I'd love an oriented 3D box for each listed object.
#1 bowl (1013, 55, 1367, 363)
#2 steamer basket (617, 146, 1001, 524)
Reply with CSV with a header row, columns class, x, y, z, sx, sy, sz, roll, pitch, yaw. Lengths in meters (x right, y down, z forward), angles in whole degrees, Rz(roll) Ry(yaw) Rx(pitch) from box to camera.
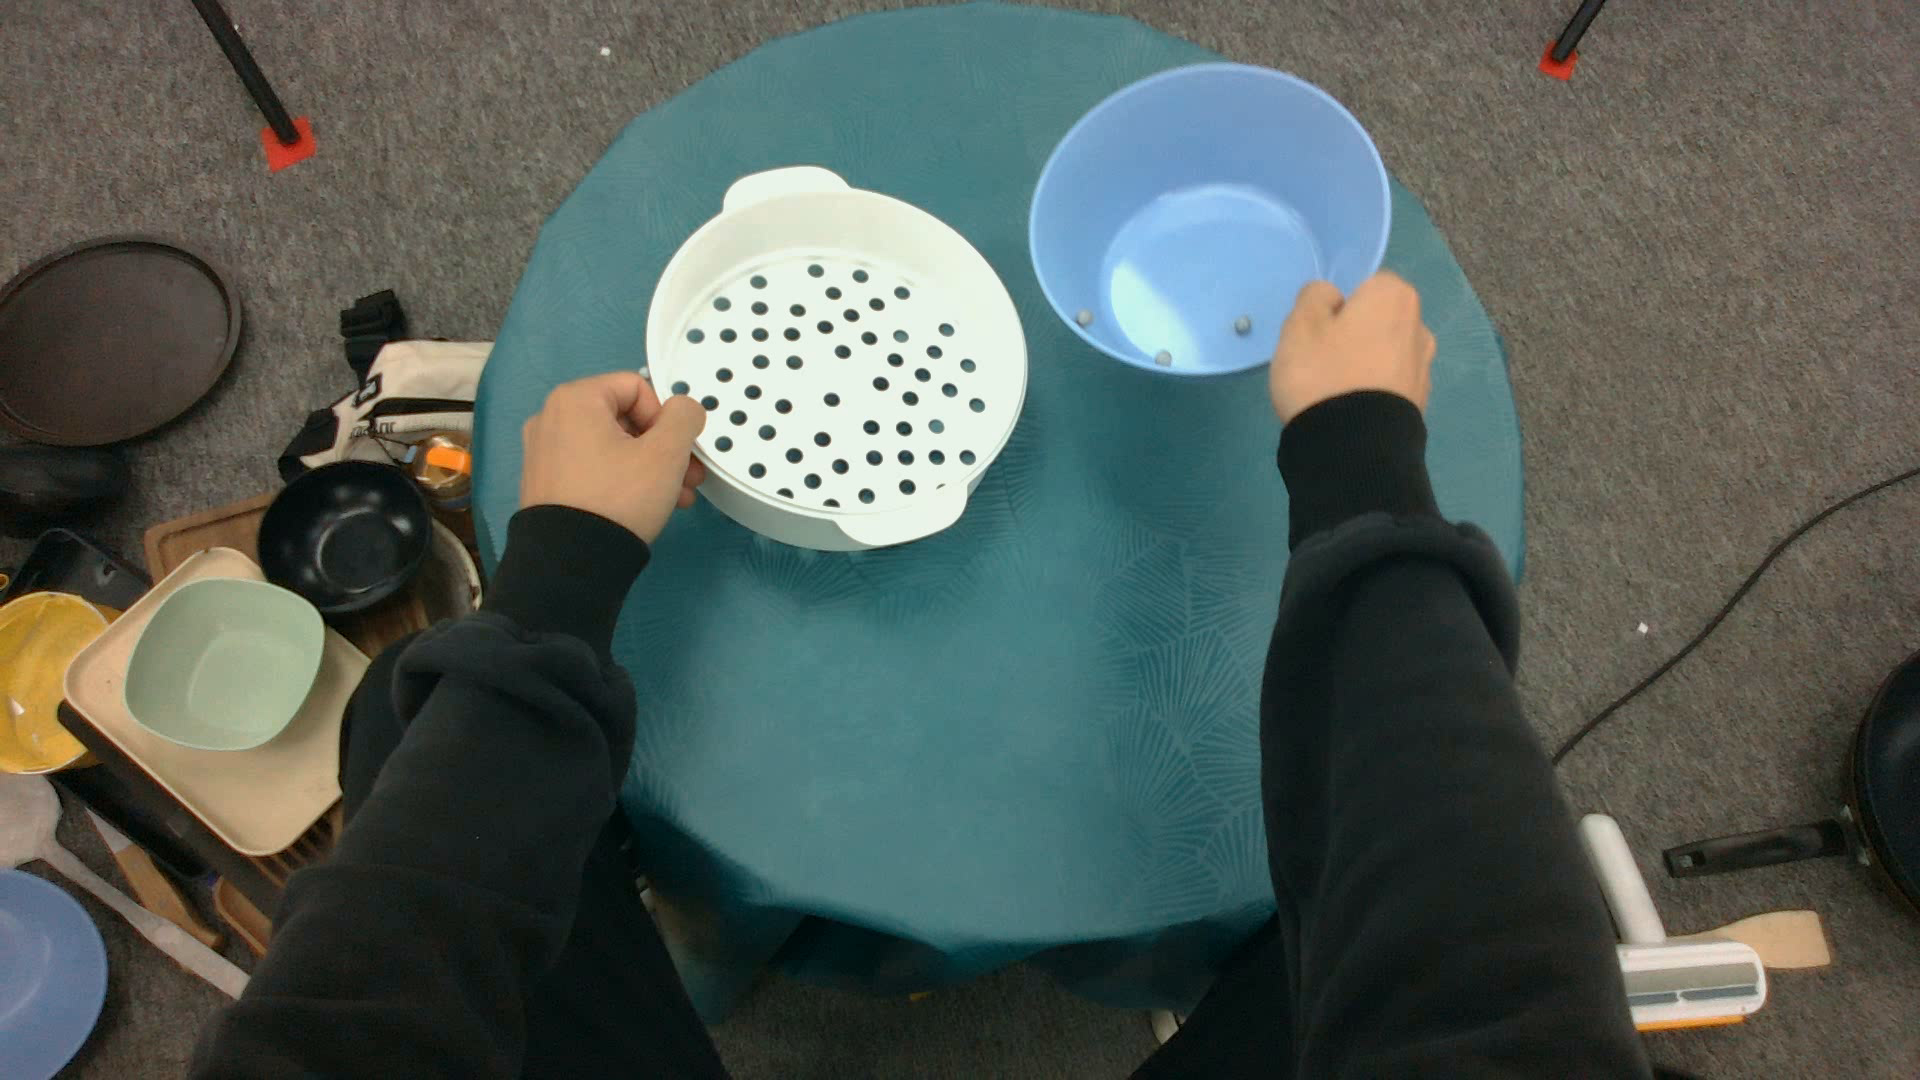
class,x,y,z,sx,sy,sz,roll,pitch,yaw
bowl,0.119,-0.160,0.717,0.176,0.070,0.176,-4,69,11
steamer basket,-0.082,-0.106,0.751,0.202,0.069,0.231,-17,70,-19
